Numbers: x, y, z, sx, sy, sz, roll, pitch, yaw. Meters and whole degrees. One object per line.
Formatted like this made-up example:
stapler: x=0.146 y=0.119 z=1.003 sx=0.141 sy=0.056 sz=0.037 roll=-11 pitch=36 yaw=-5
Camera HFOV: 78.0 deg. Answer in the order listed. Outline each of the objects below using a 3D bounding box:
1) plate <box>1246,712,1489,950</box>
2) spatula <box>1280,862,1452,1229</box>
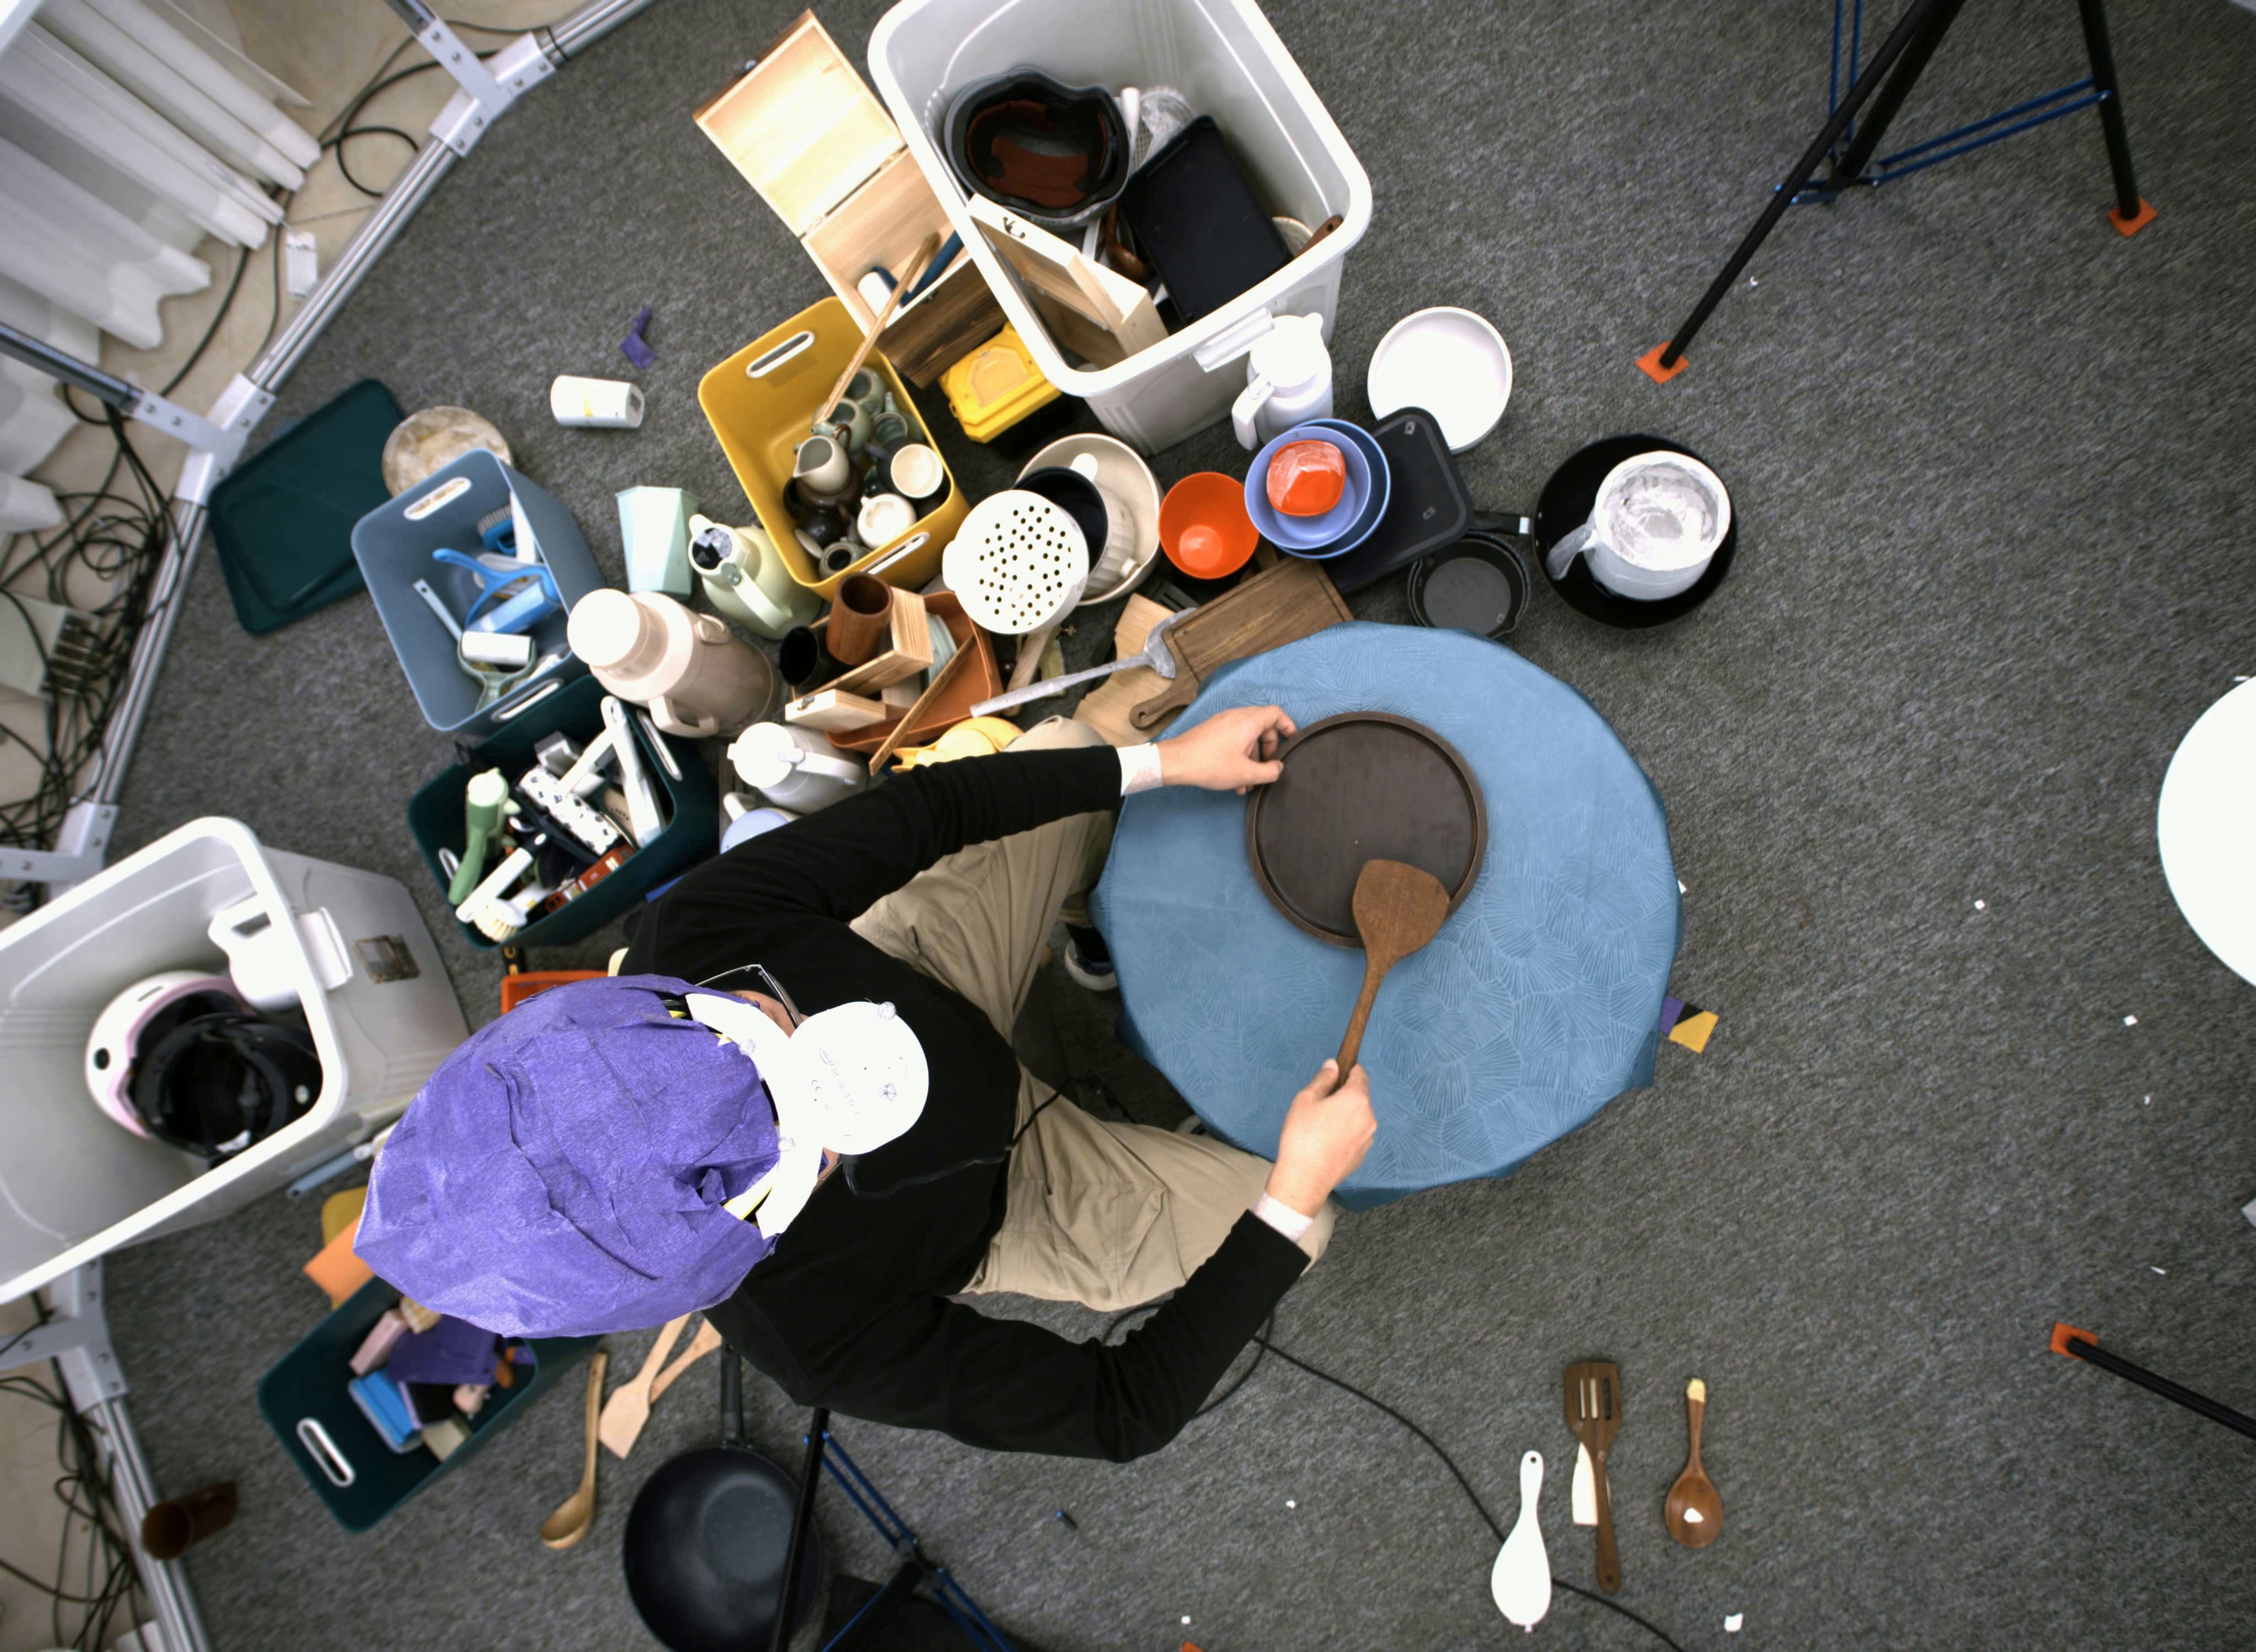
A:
plate: x=0.251 y=0.003 z=1.455 sx=0.256 sy=0.029 sz=0.254 roll=-1 pitch=88 yaw=10
spatula: x=0.219 y=0.203 z=1.331 sx=0.096 sy=0.016 sz=0.378 roll=21 pitch=68 yaw=8
